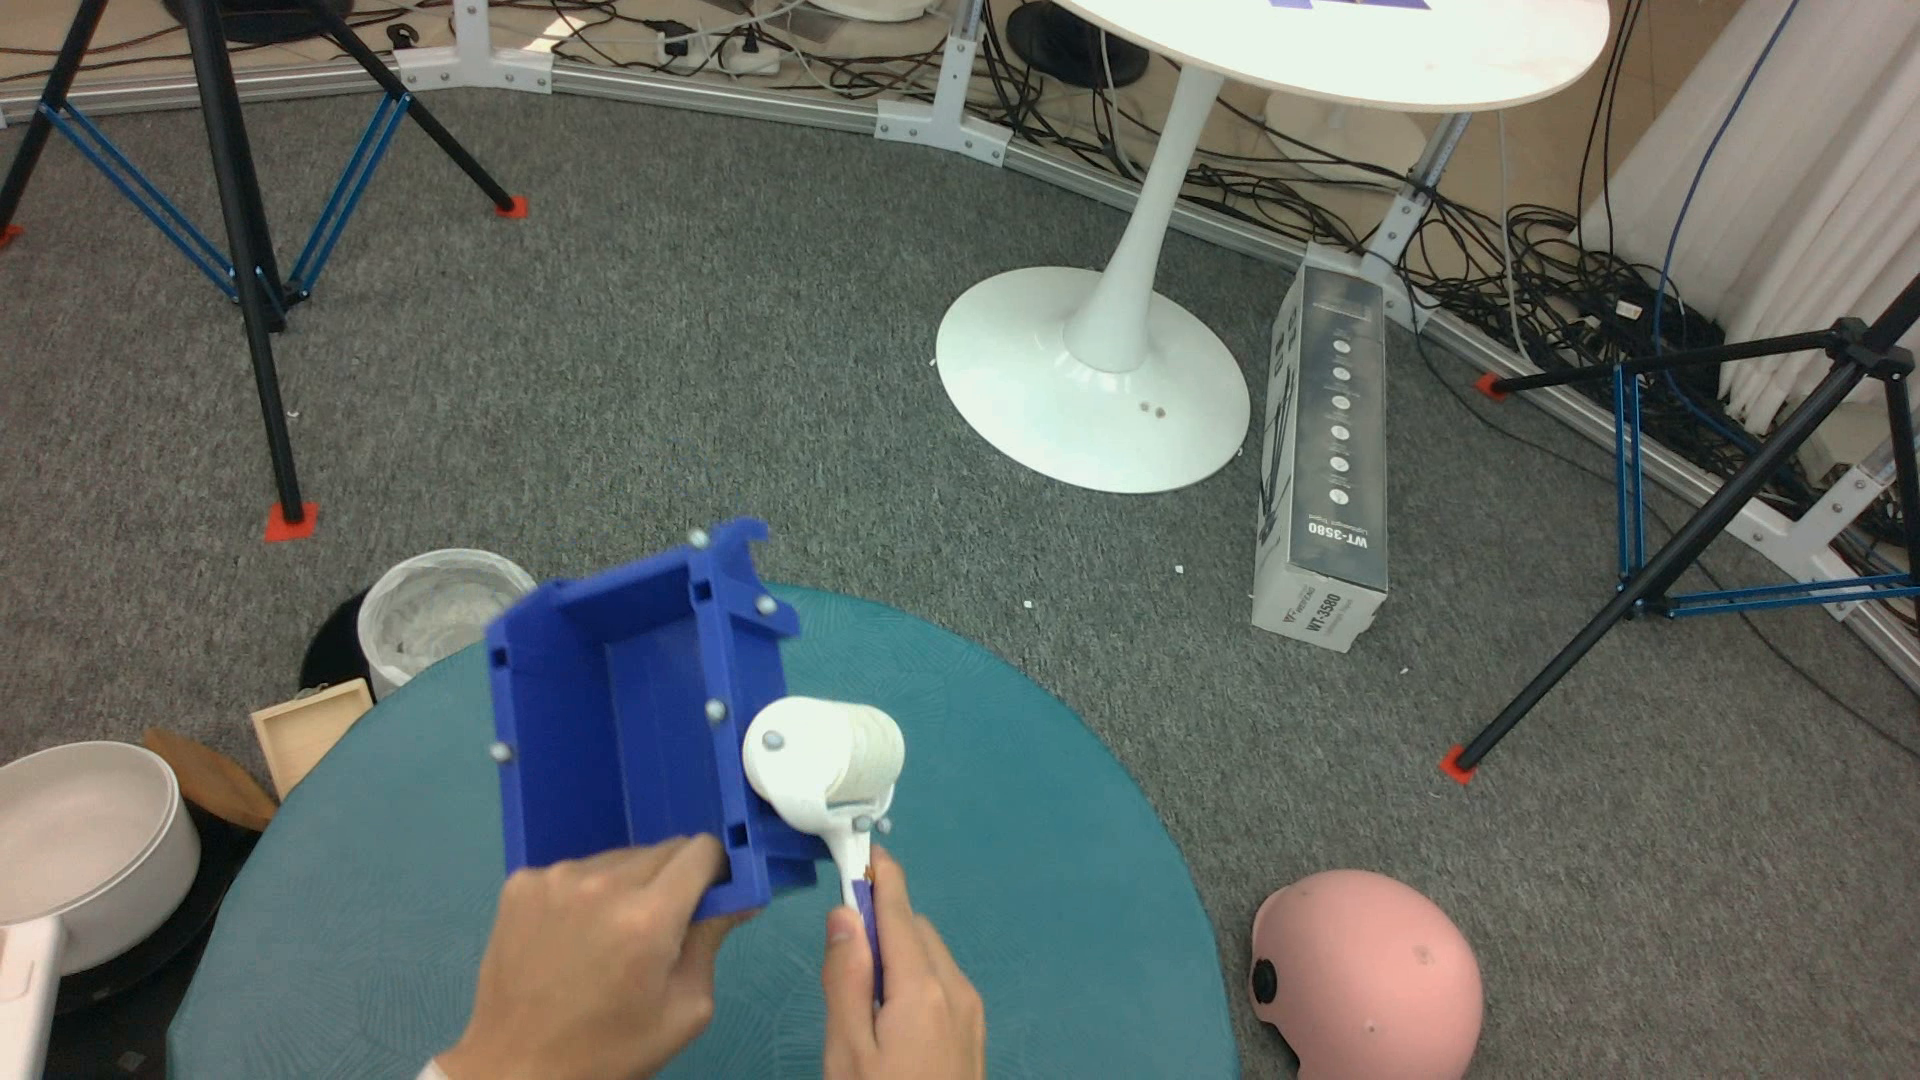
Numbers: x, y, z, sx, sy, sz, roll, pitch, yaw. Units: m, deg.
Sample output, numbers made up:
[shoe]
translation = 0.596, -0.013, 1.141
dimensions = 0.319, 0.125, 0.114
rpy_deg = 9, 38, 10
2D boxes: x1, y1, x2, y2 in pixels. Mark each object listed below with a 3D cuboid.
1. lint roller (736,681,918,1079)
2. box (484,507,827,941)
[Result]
[lint roller]
translation = -0.039, 0.148, 0.598
dimensions = 0.050, 0.133, 0.181
rpy_deg = -24, 76, 5
[box]
translation = -0.143, 0.081, 0.635
dimensions = 0.124, 0.082, 0.180
rpy_deg = -17, 71, 17
